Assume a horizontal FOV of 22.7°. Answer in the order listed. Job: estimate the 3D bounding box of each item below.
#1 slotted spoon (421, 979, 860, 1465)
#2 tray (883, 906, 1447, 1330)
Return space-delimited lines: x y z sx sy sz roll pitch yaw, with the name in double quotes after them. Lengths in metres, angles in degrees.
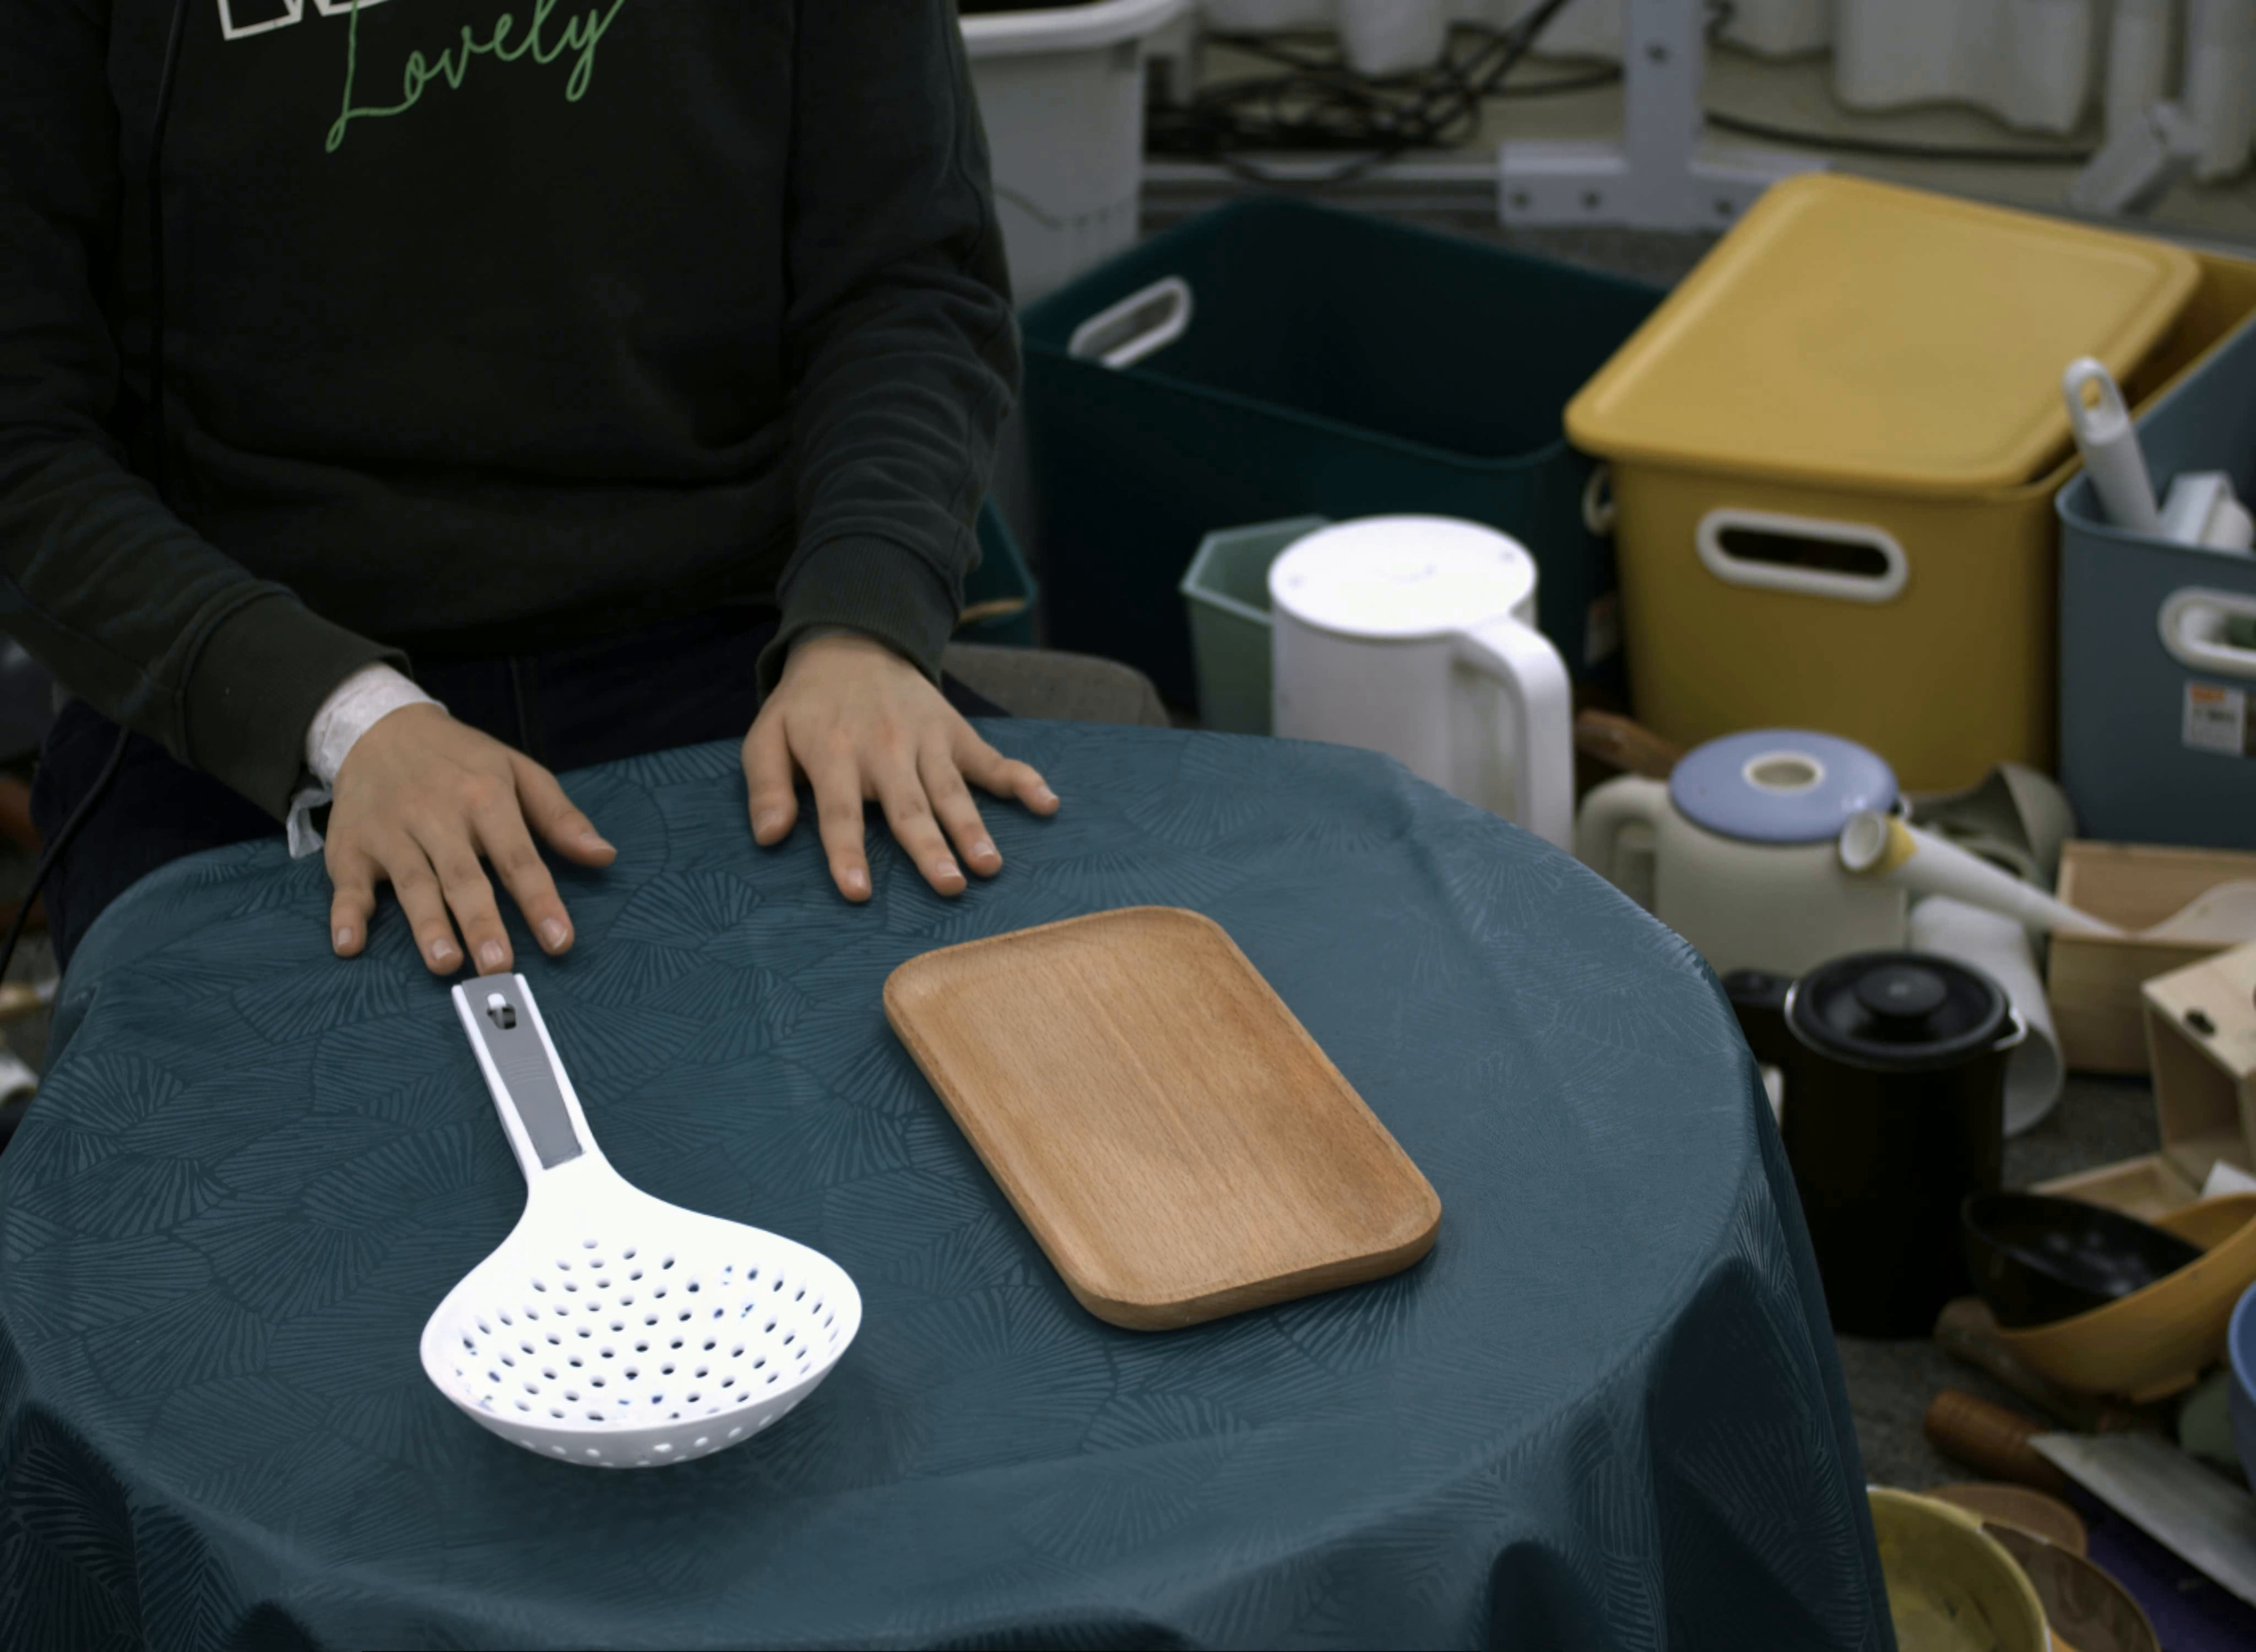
-0.179 0.122 1.828 0.136 0.045 0.353 -8 27 -14 "slotted spoon"
0.009 0.096 1.893 0.131 0.022 0.253 -10 27 -17 "tray"
